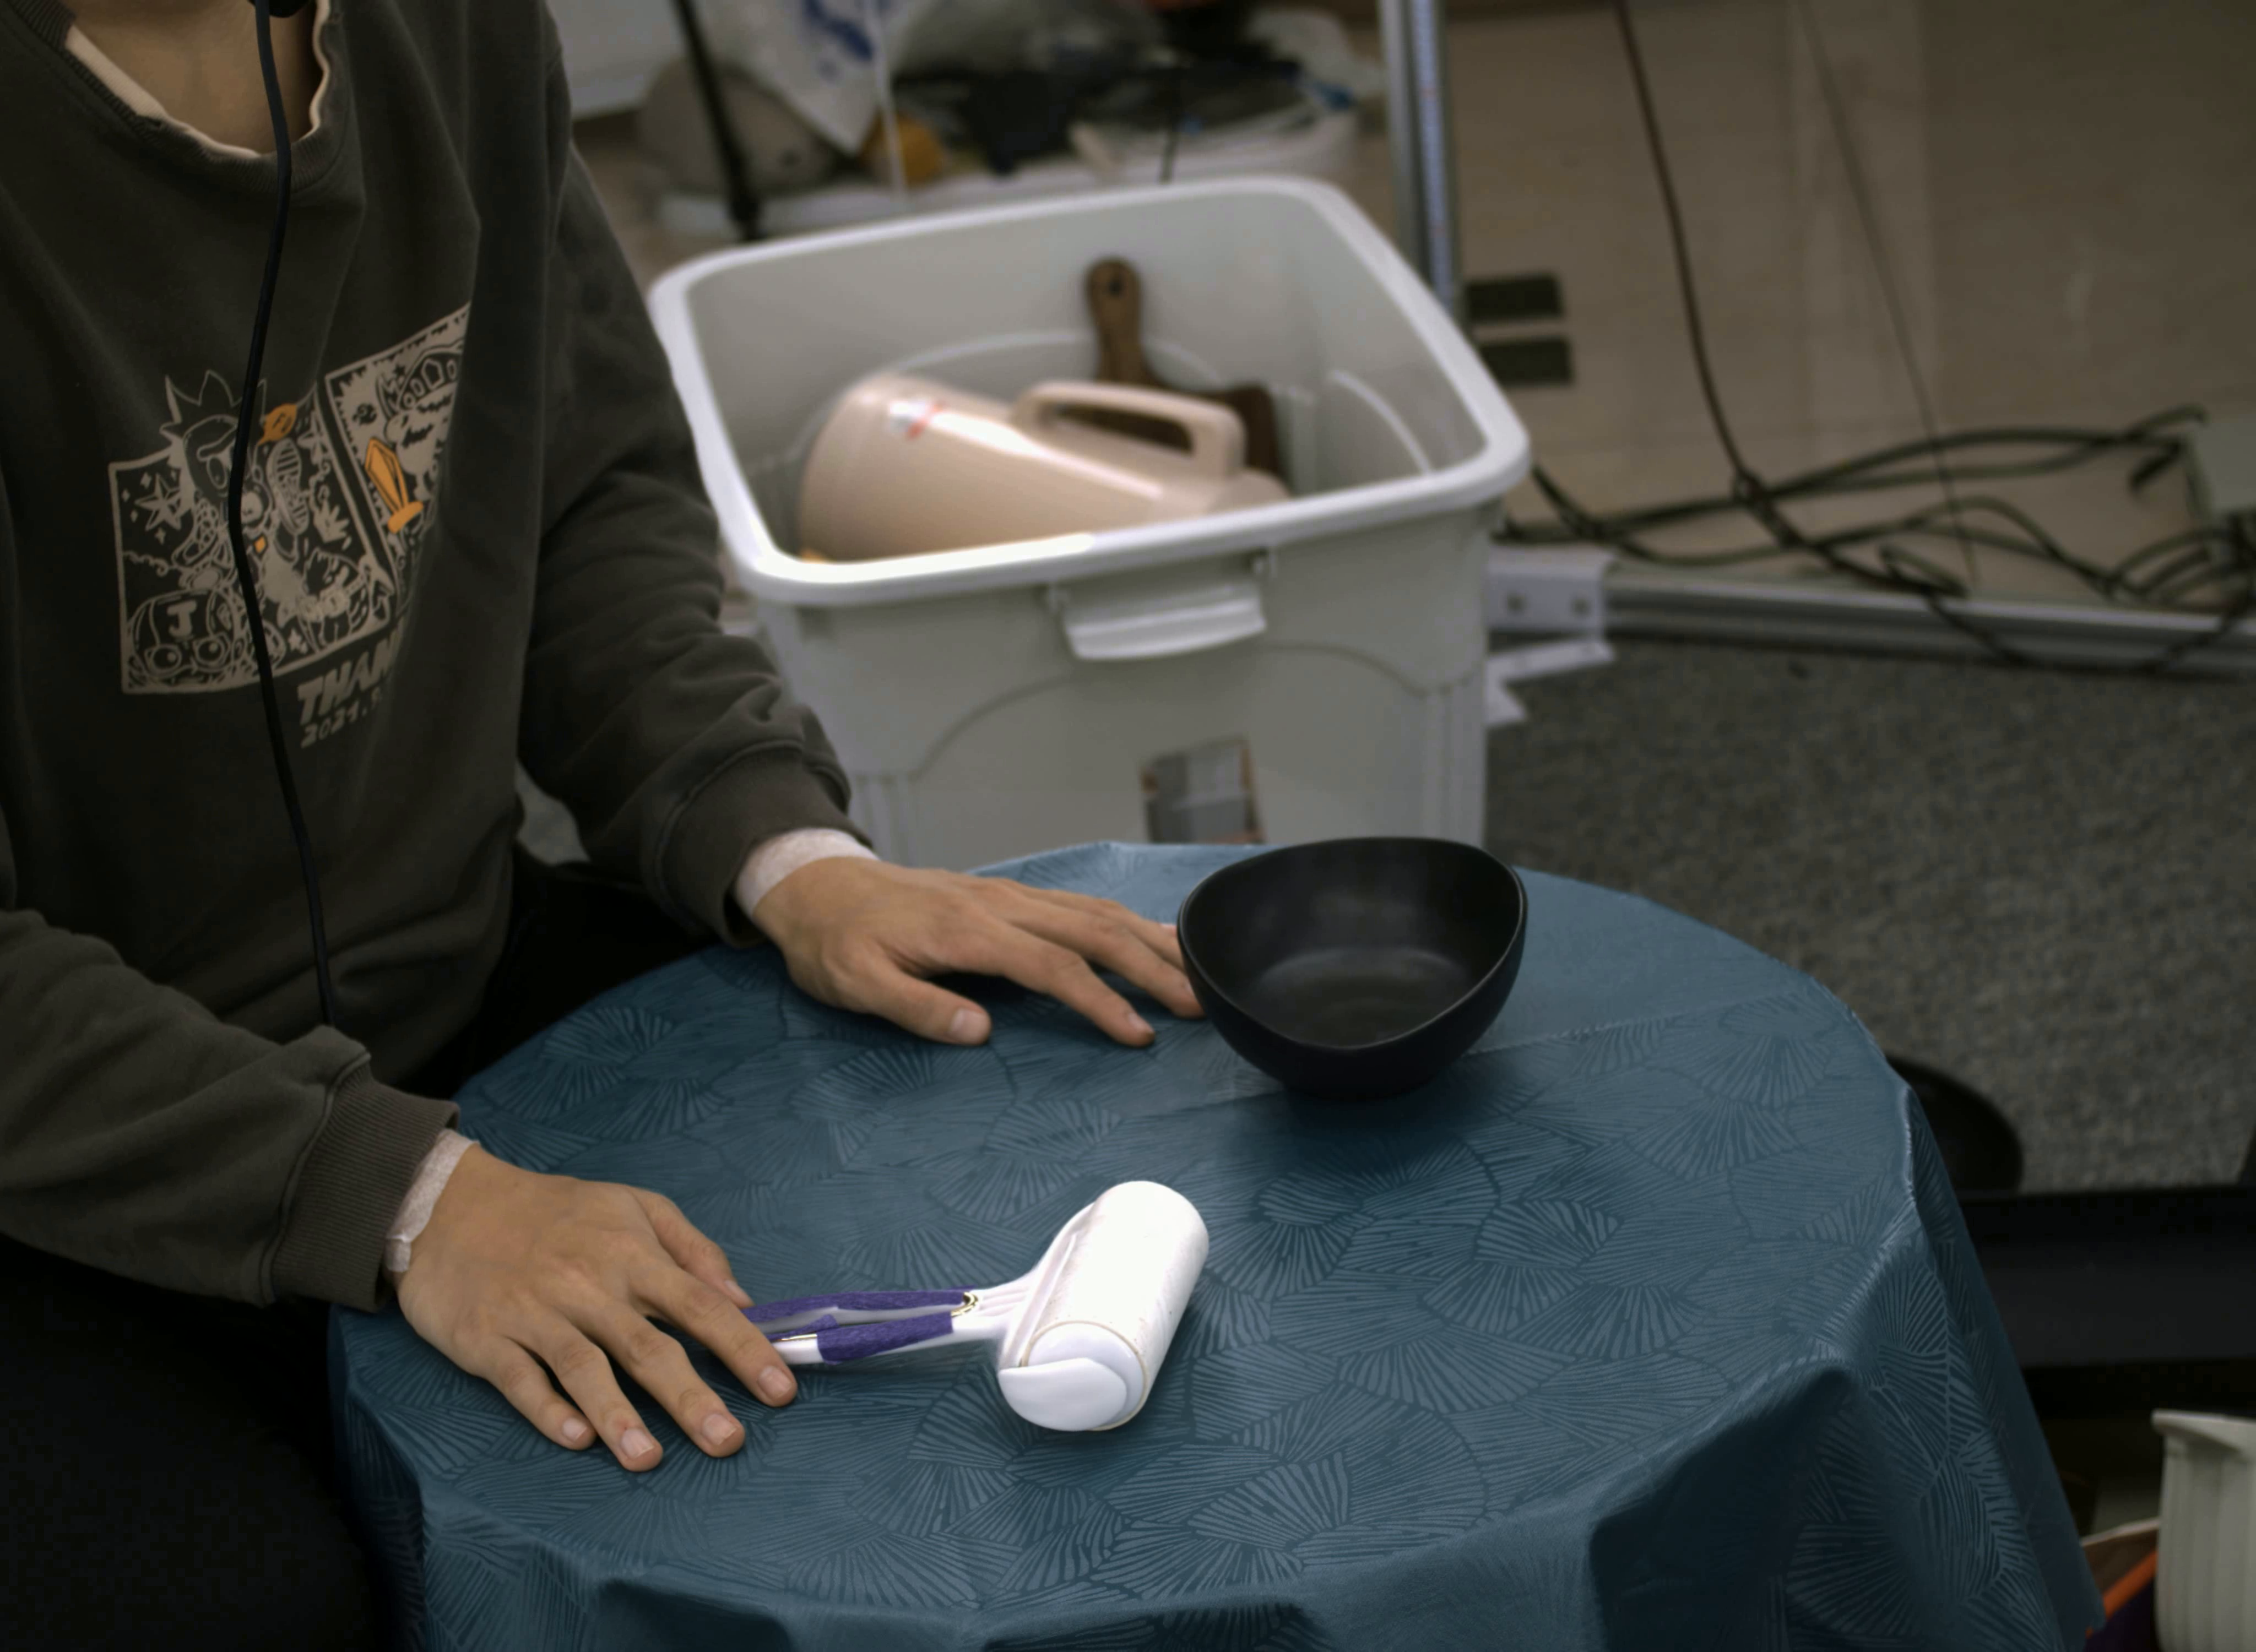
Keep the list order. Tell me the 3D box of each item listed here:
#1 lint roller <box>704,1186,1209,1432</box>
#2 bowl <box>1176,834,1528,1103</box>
[{"bbox_3d":[-0.067,0.169,2.042,0.180,0.051,0.131,4,27,15],"label":"lint roller"},{"bbox_3d":[0.090,0.063,2.211,0.137,0.068,0.167,-7,27,2],"label":"bowl"}]
